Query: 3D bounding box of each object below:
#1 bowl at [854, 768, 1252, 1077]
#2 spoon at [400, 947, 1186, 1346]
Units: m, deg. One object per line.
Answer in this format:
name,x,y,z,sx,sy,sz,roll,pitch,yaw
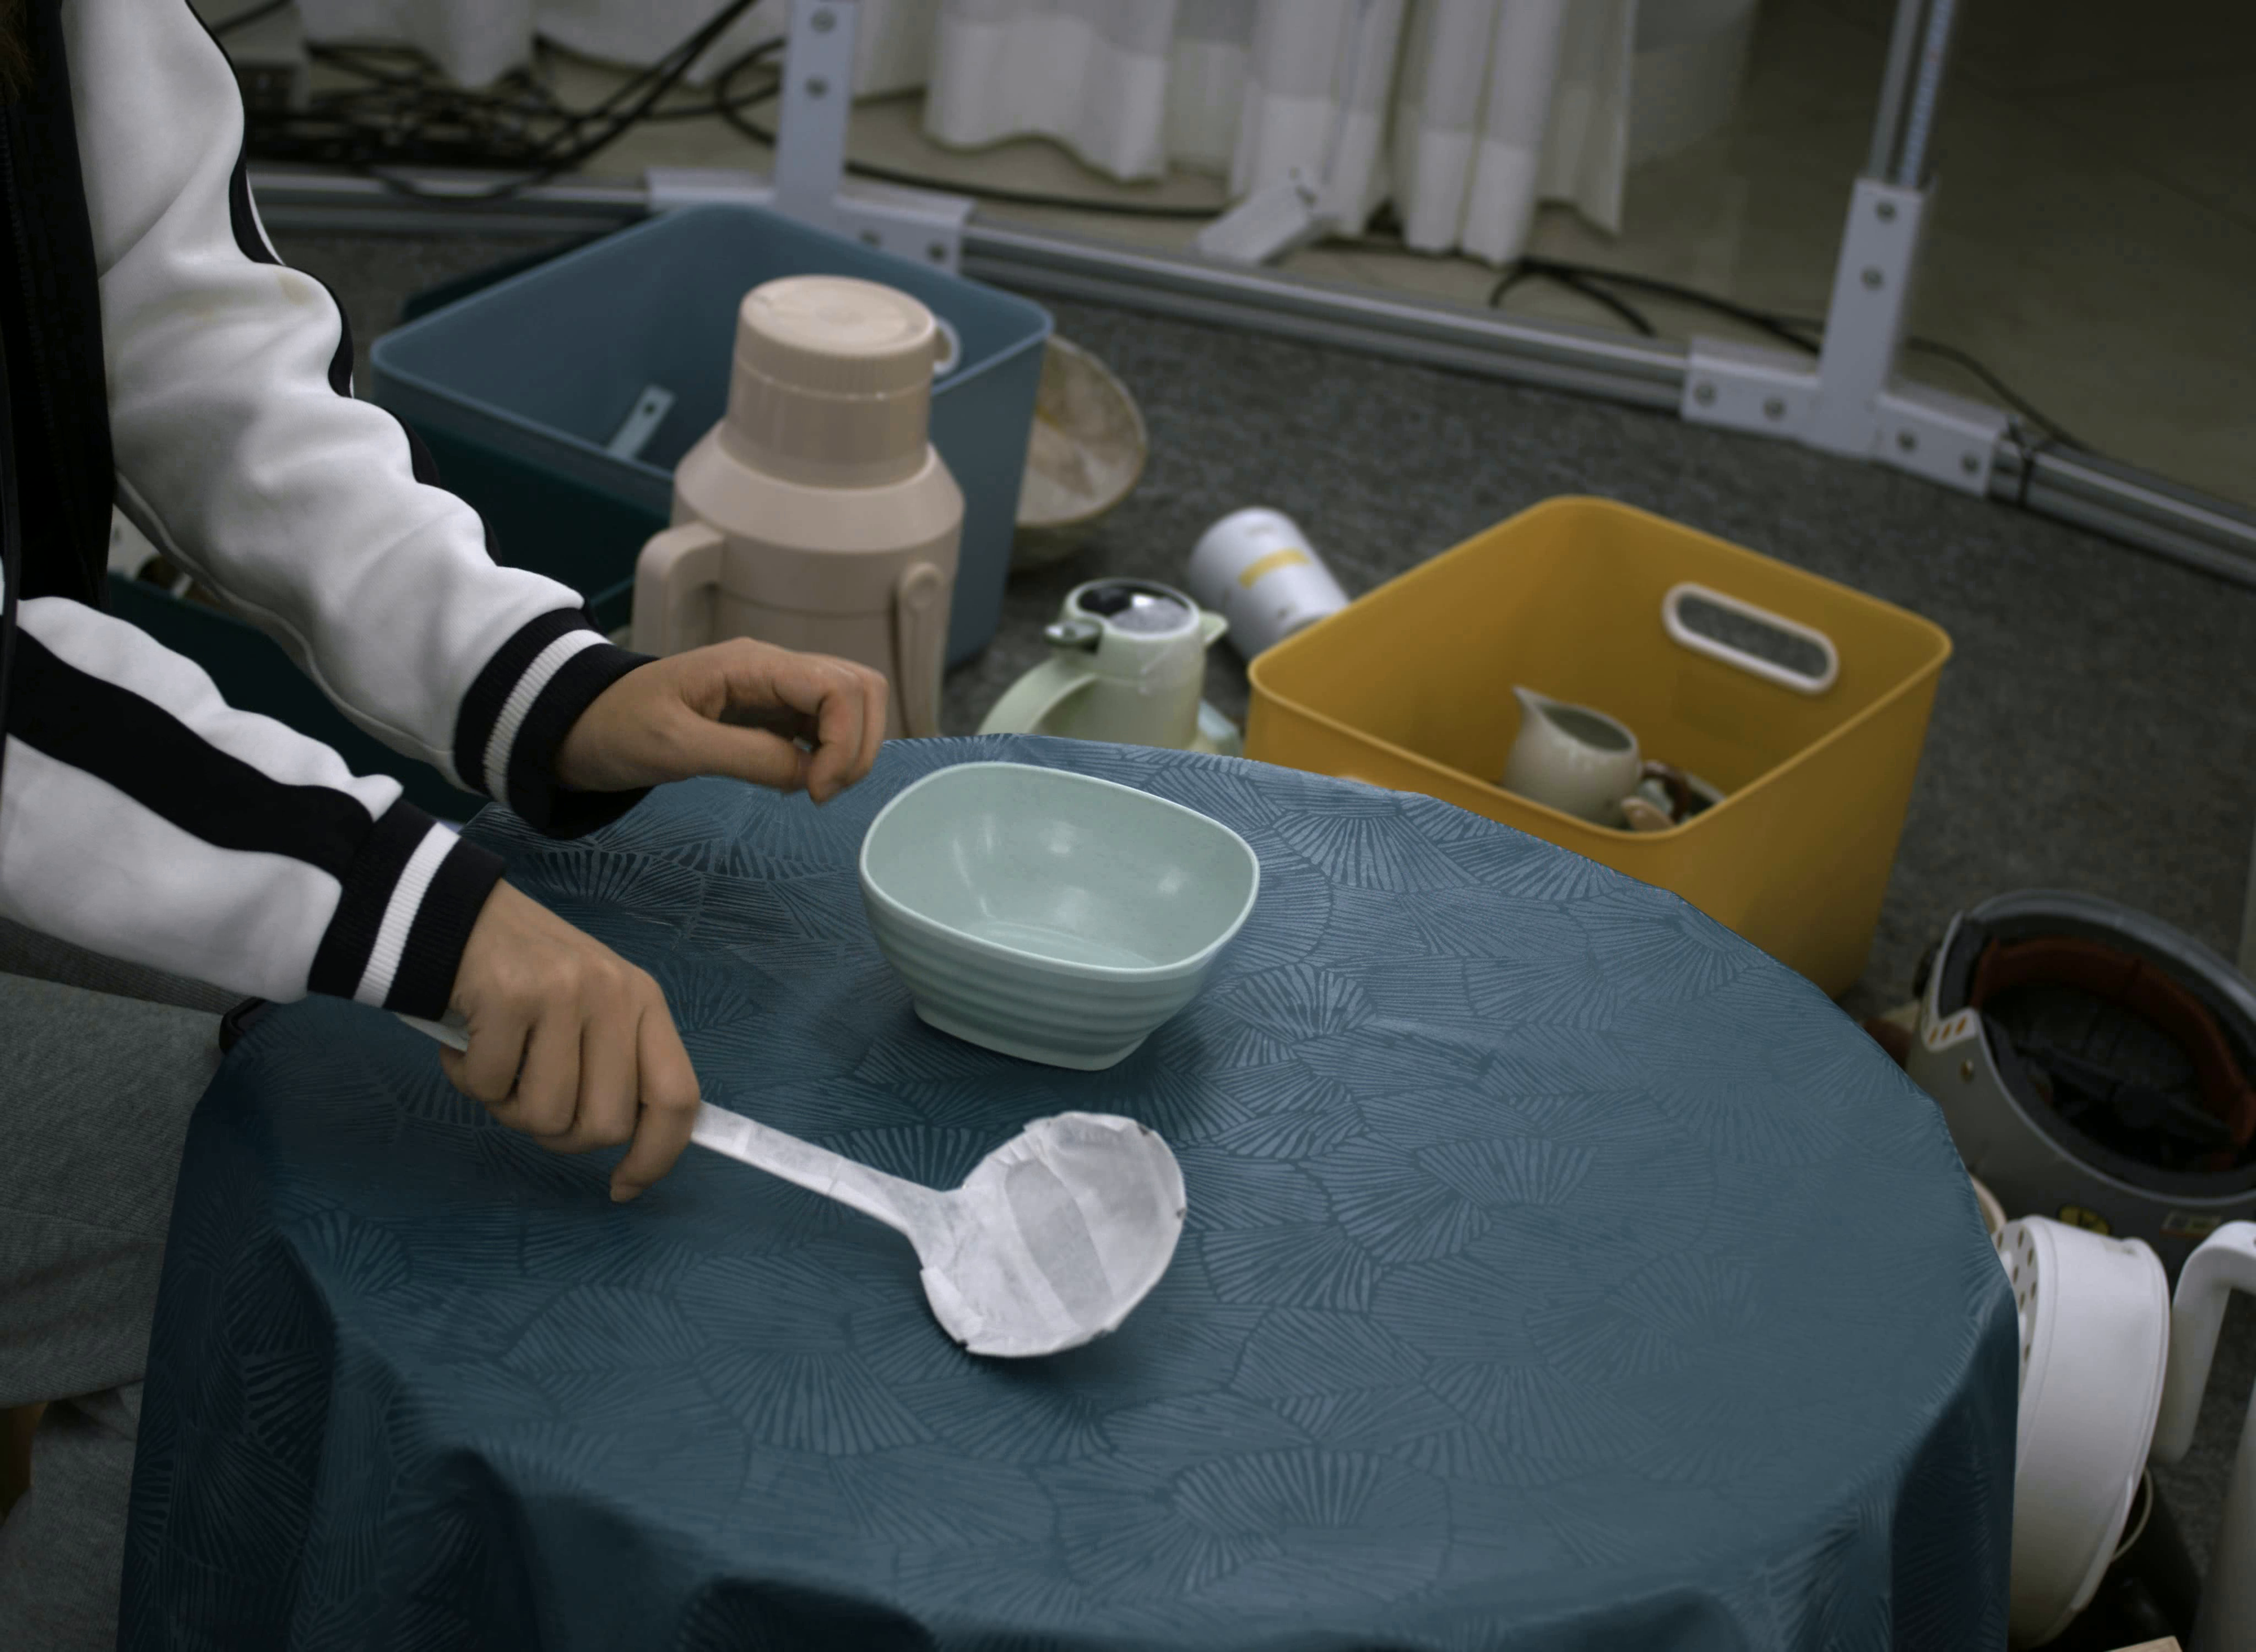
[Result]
bowl,-0.030,0.040,1.898,0.151,0.058,0.152,8,27,-5
spoon,-0.112,0.086,1.731,0.277,0.059,0.101,26,55,8
